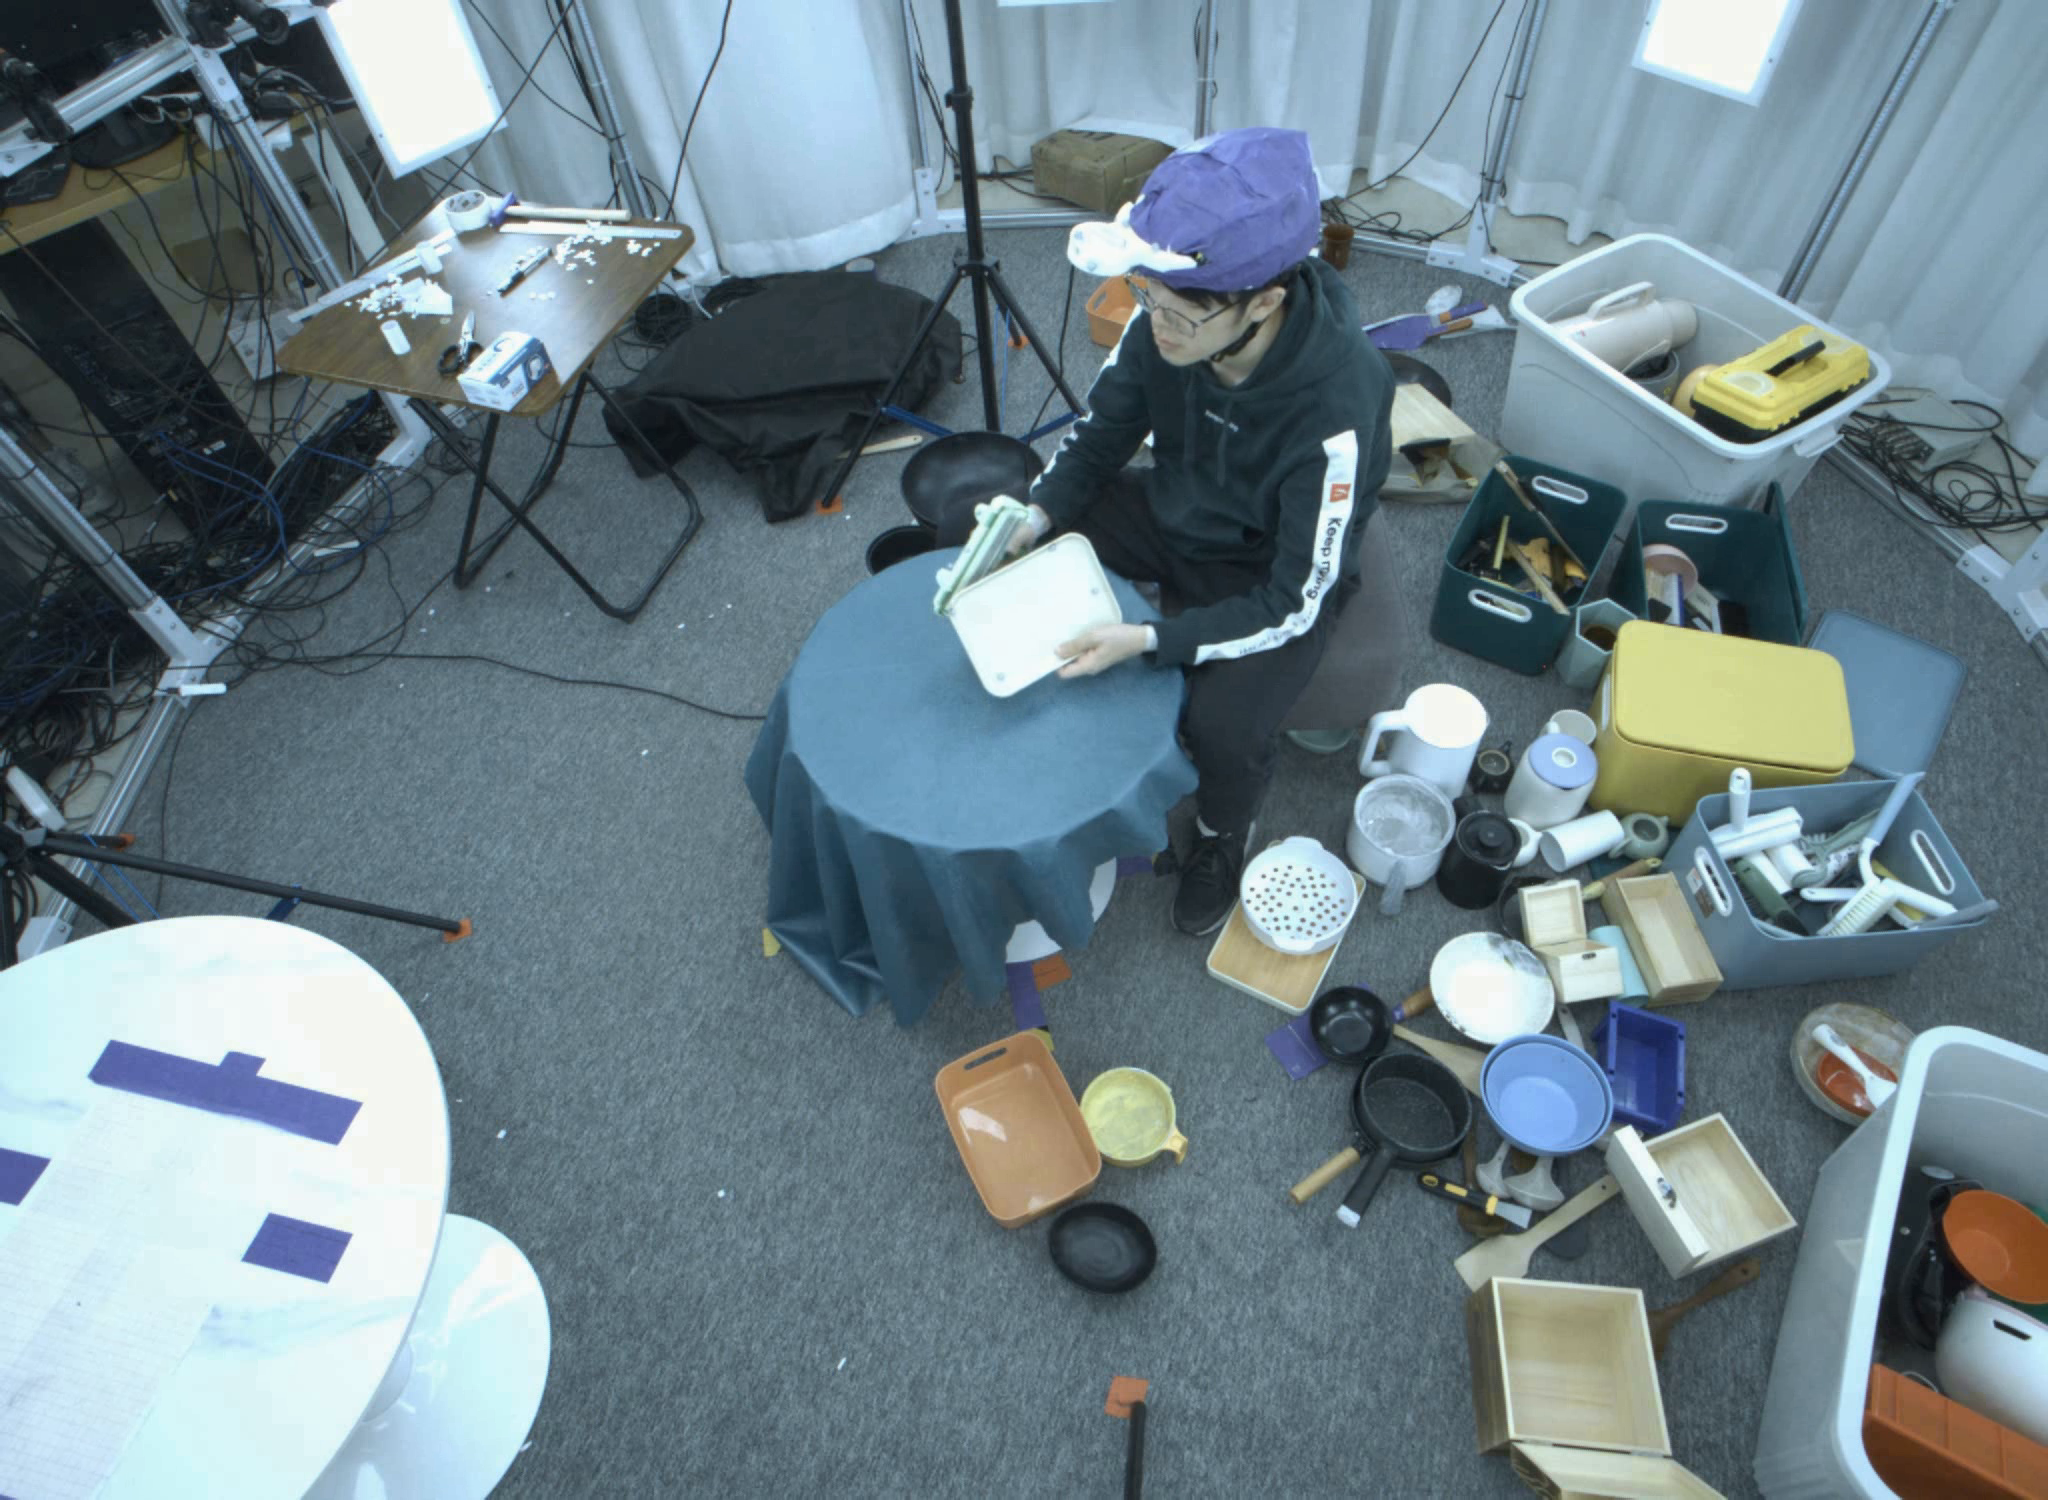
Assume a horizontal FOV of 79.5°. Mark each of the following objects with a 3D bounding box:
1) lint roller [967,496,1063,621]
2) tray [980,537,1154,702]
[{"bbox_3d":[-0.005,-0.294,1.819,0.082,0.198,0.184,36,25,4],"label":"lint roller"},{"bbox_3d":[0.063,-0.189,1.777,0.241,0.173,0.017,-30,21,-13],"label":"tray"}]
